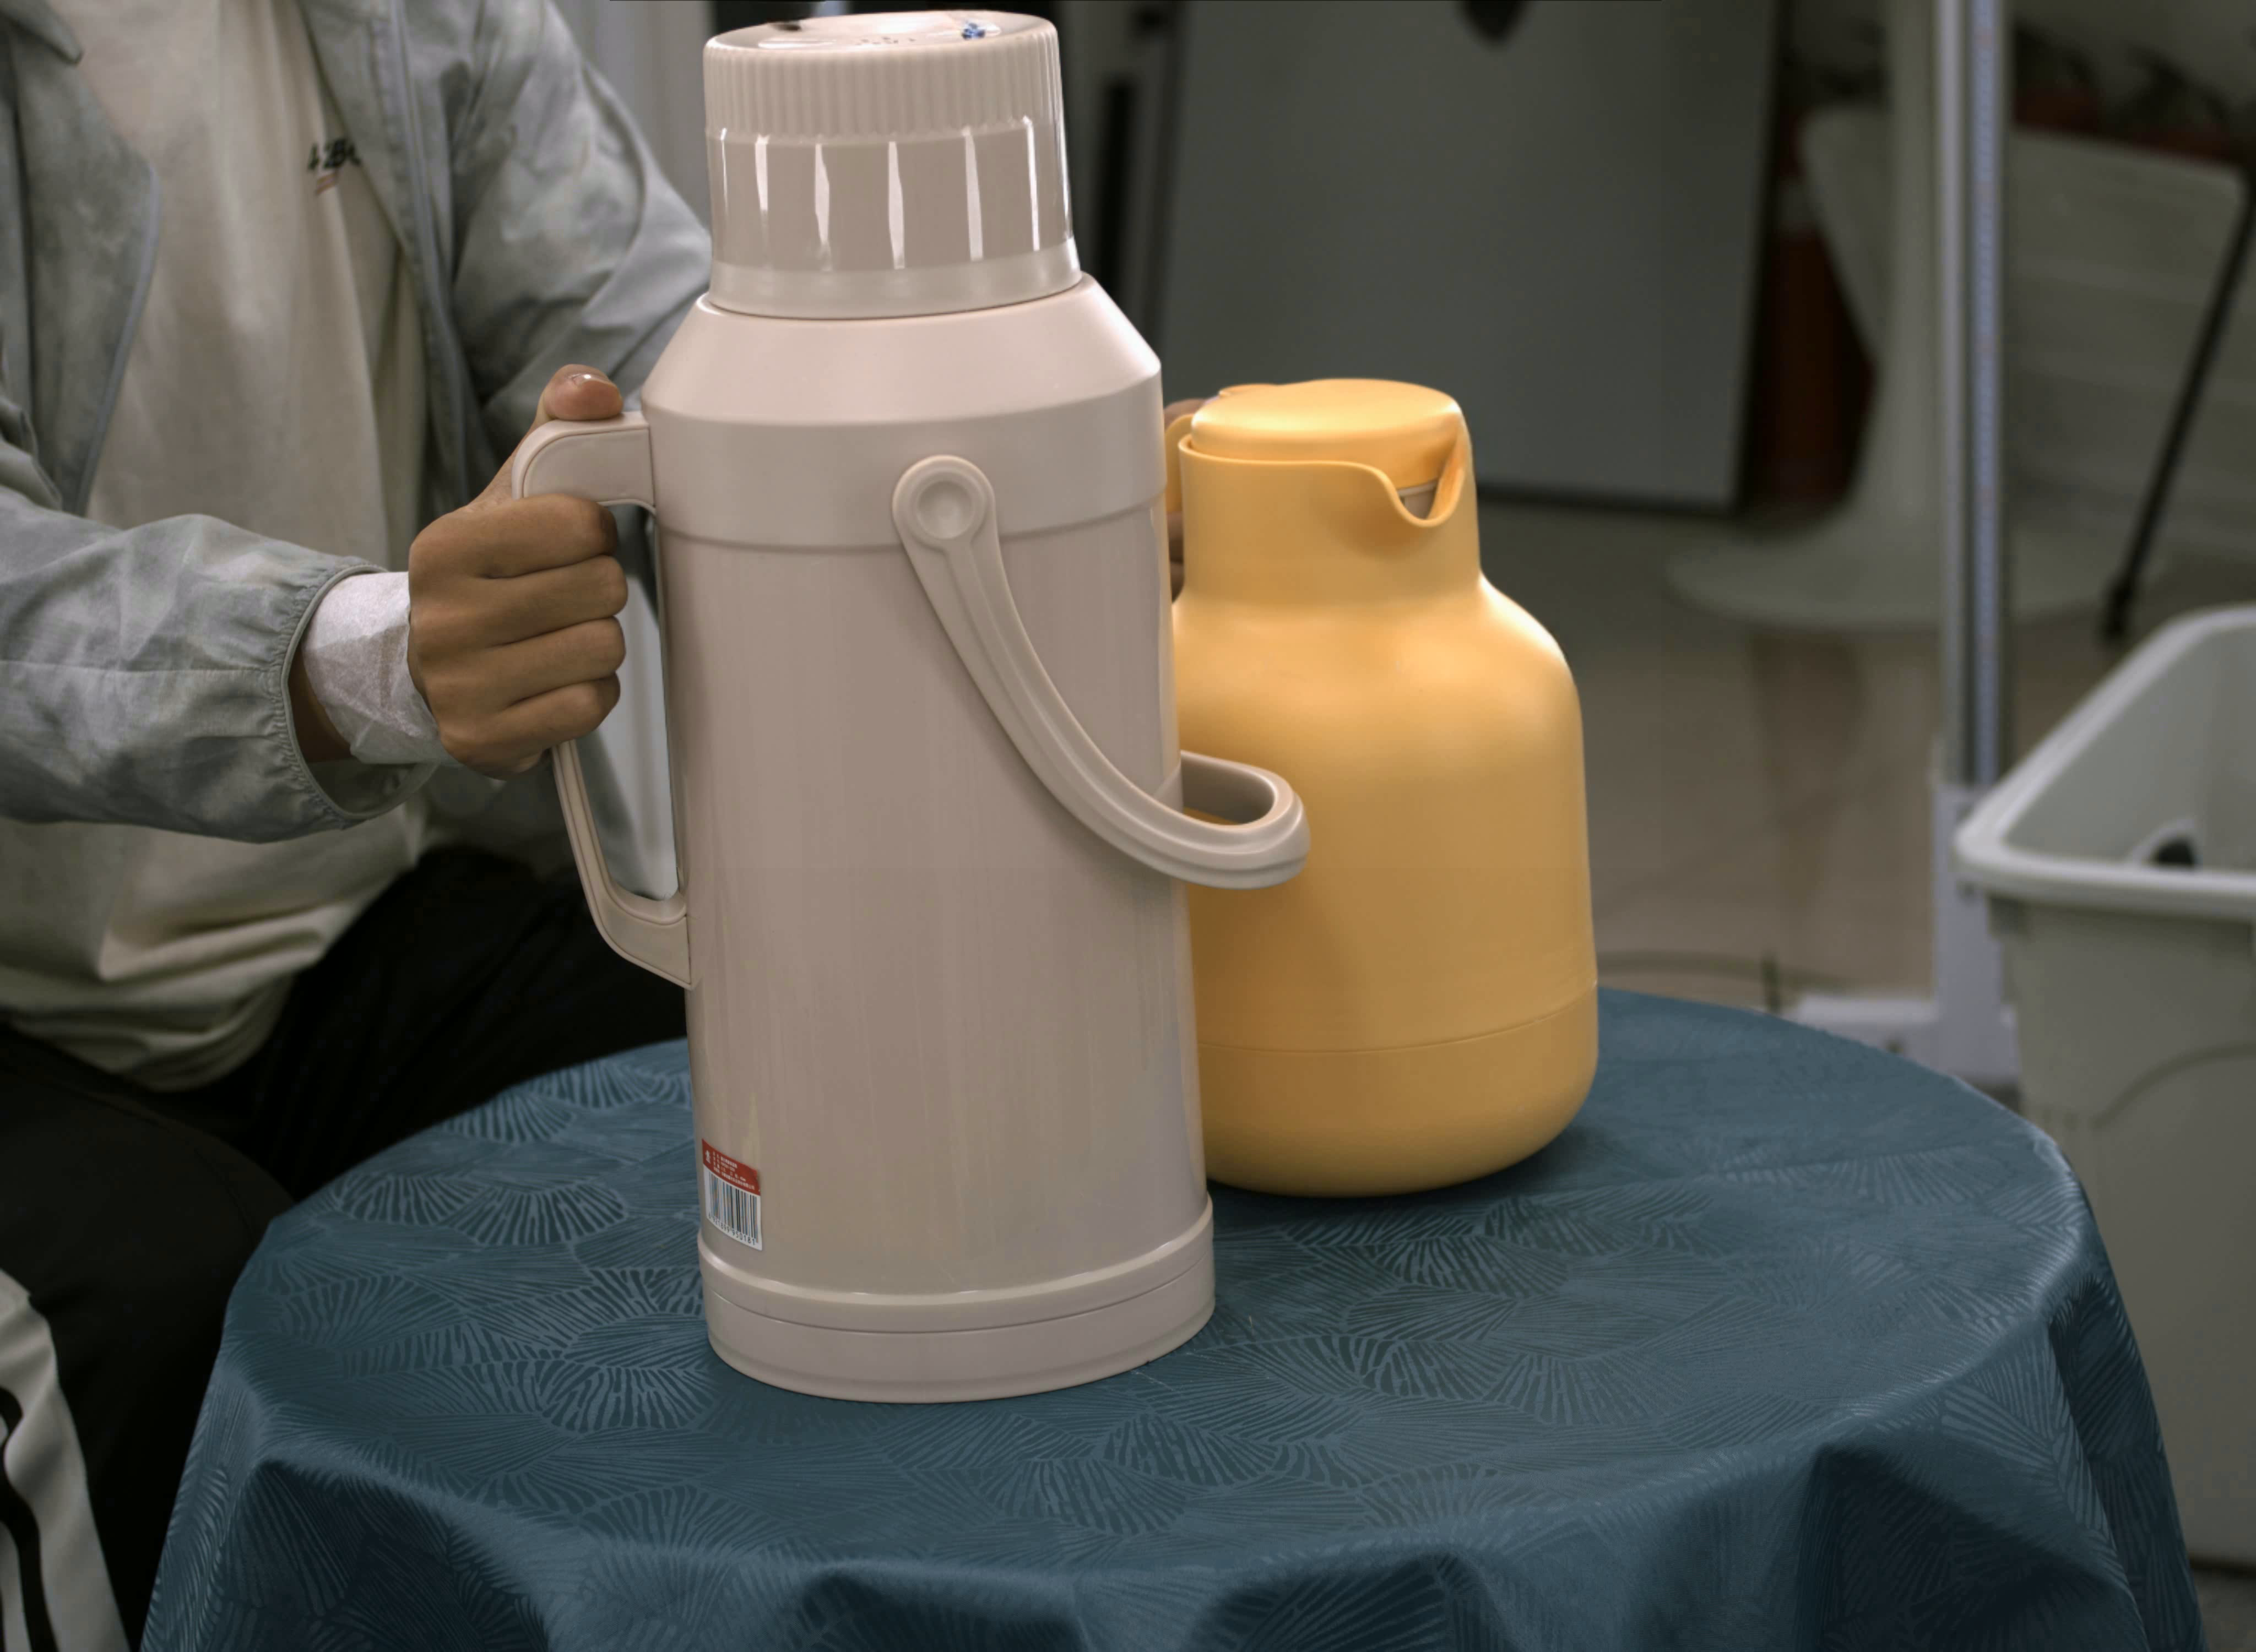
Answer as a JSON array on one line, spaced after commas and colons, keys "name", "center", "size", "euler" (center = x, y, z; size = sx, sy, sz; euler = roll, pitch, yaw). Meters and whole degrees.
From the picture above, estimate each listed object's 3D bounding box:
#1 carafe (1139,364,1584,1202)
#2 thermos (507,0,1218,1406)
[{"name": "carafe", "center": [0.062, -0.022, 1.788], "size": [0.160, 0.263, 0.204], "euler": [-6, 14, -21]}, {"name": "thermos", "center": [-0.078, -0.041, 1.617], "size": [0.203, 0.411, 0.176], "euler": [-5, 14, -7]}]
